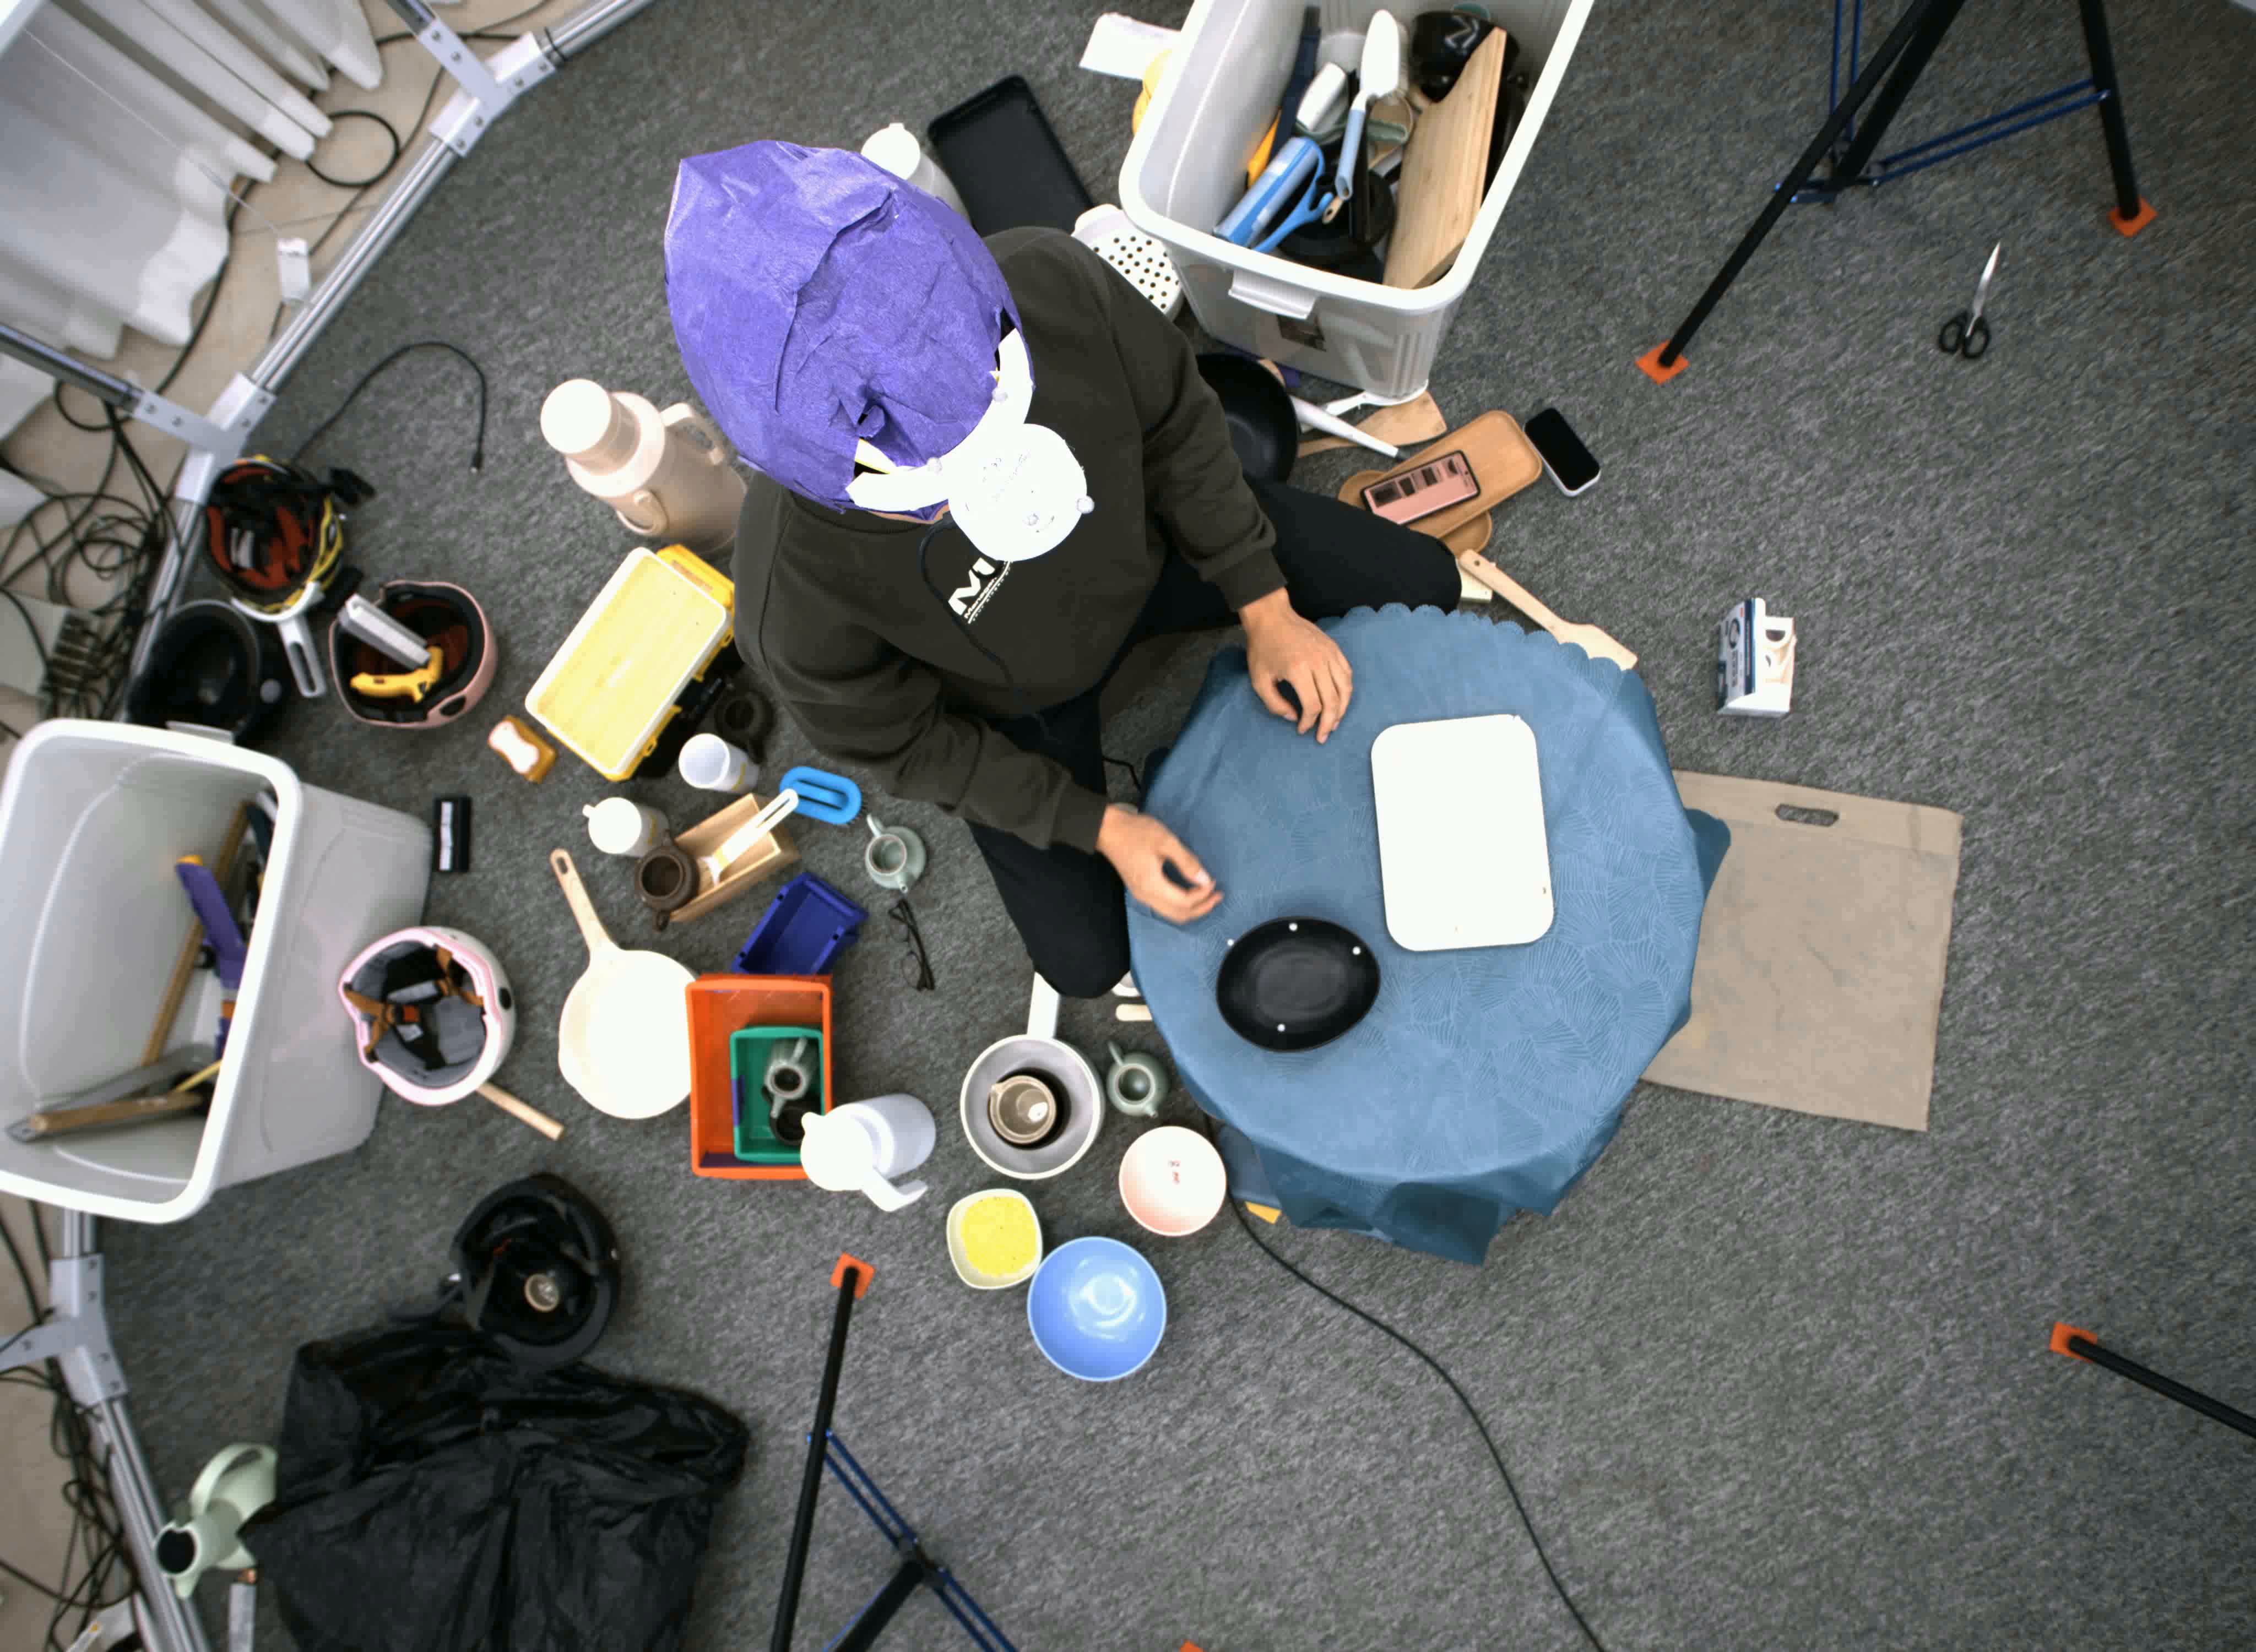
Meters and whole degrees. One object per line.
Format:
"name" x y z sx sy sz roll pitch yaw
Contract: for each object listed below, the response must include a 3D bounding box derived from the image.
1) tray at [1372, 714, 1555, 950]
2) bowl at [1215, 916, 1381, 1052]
"tray" 0.349 0.005 1.440 0.172 0.017 0.238 -5 86 11
"bowl" 0.176 0.162 1.441 0.171 0.067 0.136 -13 85 8
